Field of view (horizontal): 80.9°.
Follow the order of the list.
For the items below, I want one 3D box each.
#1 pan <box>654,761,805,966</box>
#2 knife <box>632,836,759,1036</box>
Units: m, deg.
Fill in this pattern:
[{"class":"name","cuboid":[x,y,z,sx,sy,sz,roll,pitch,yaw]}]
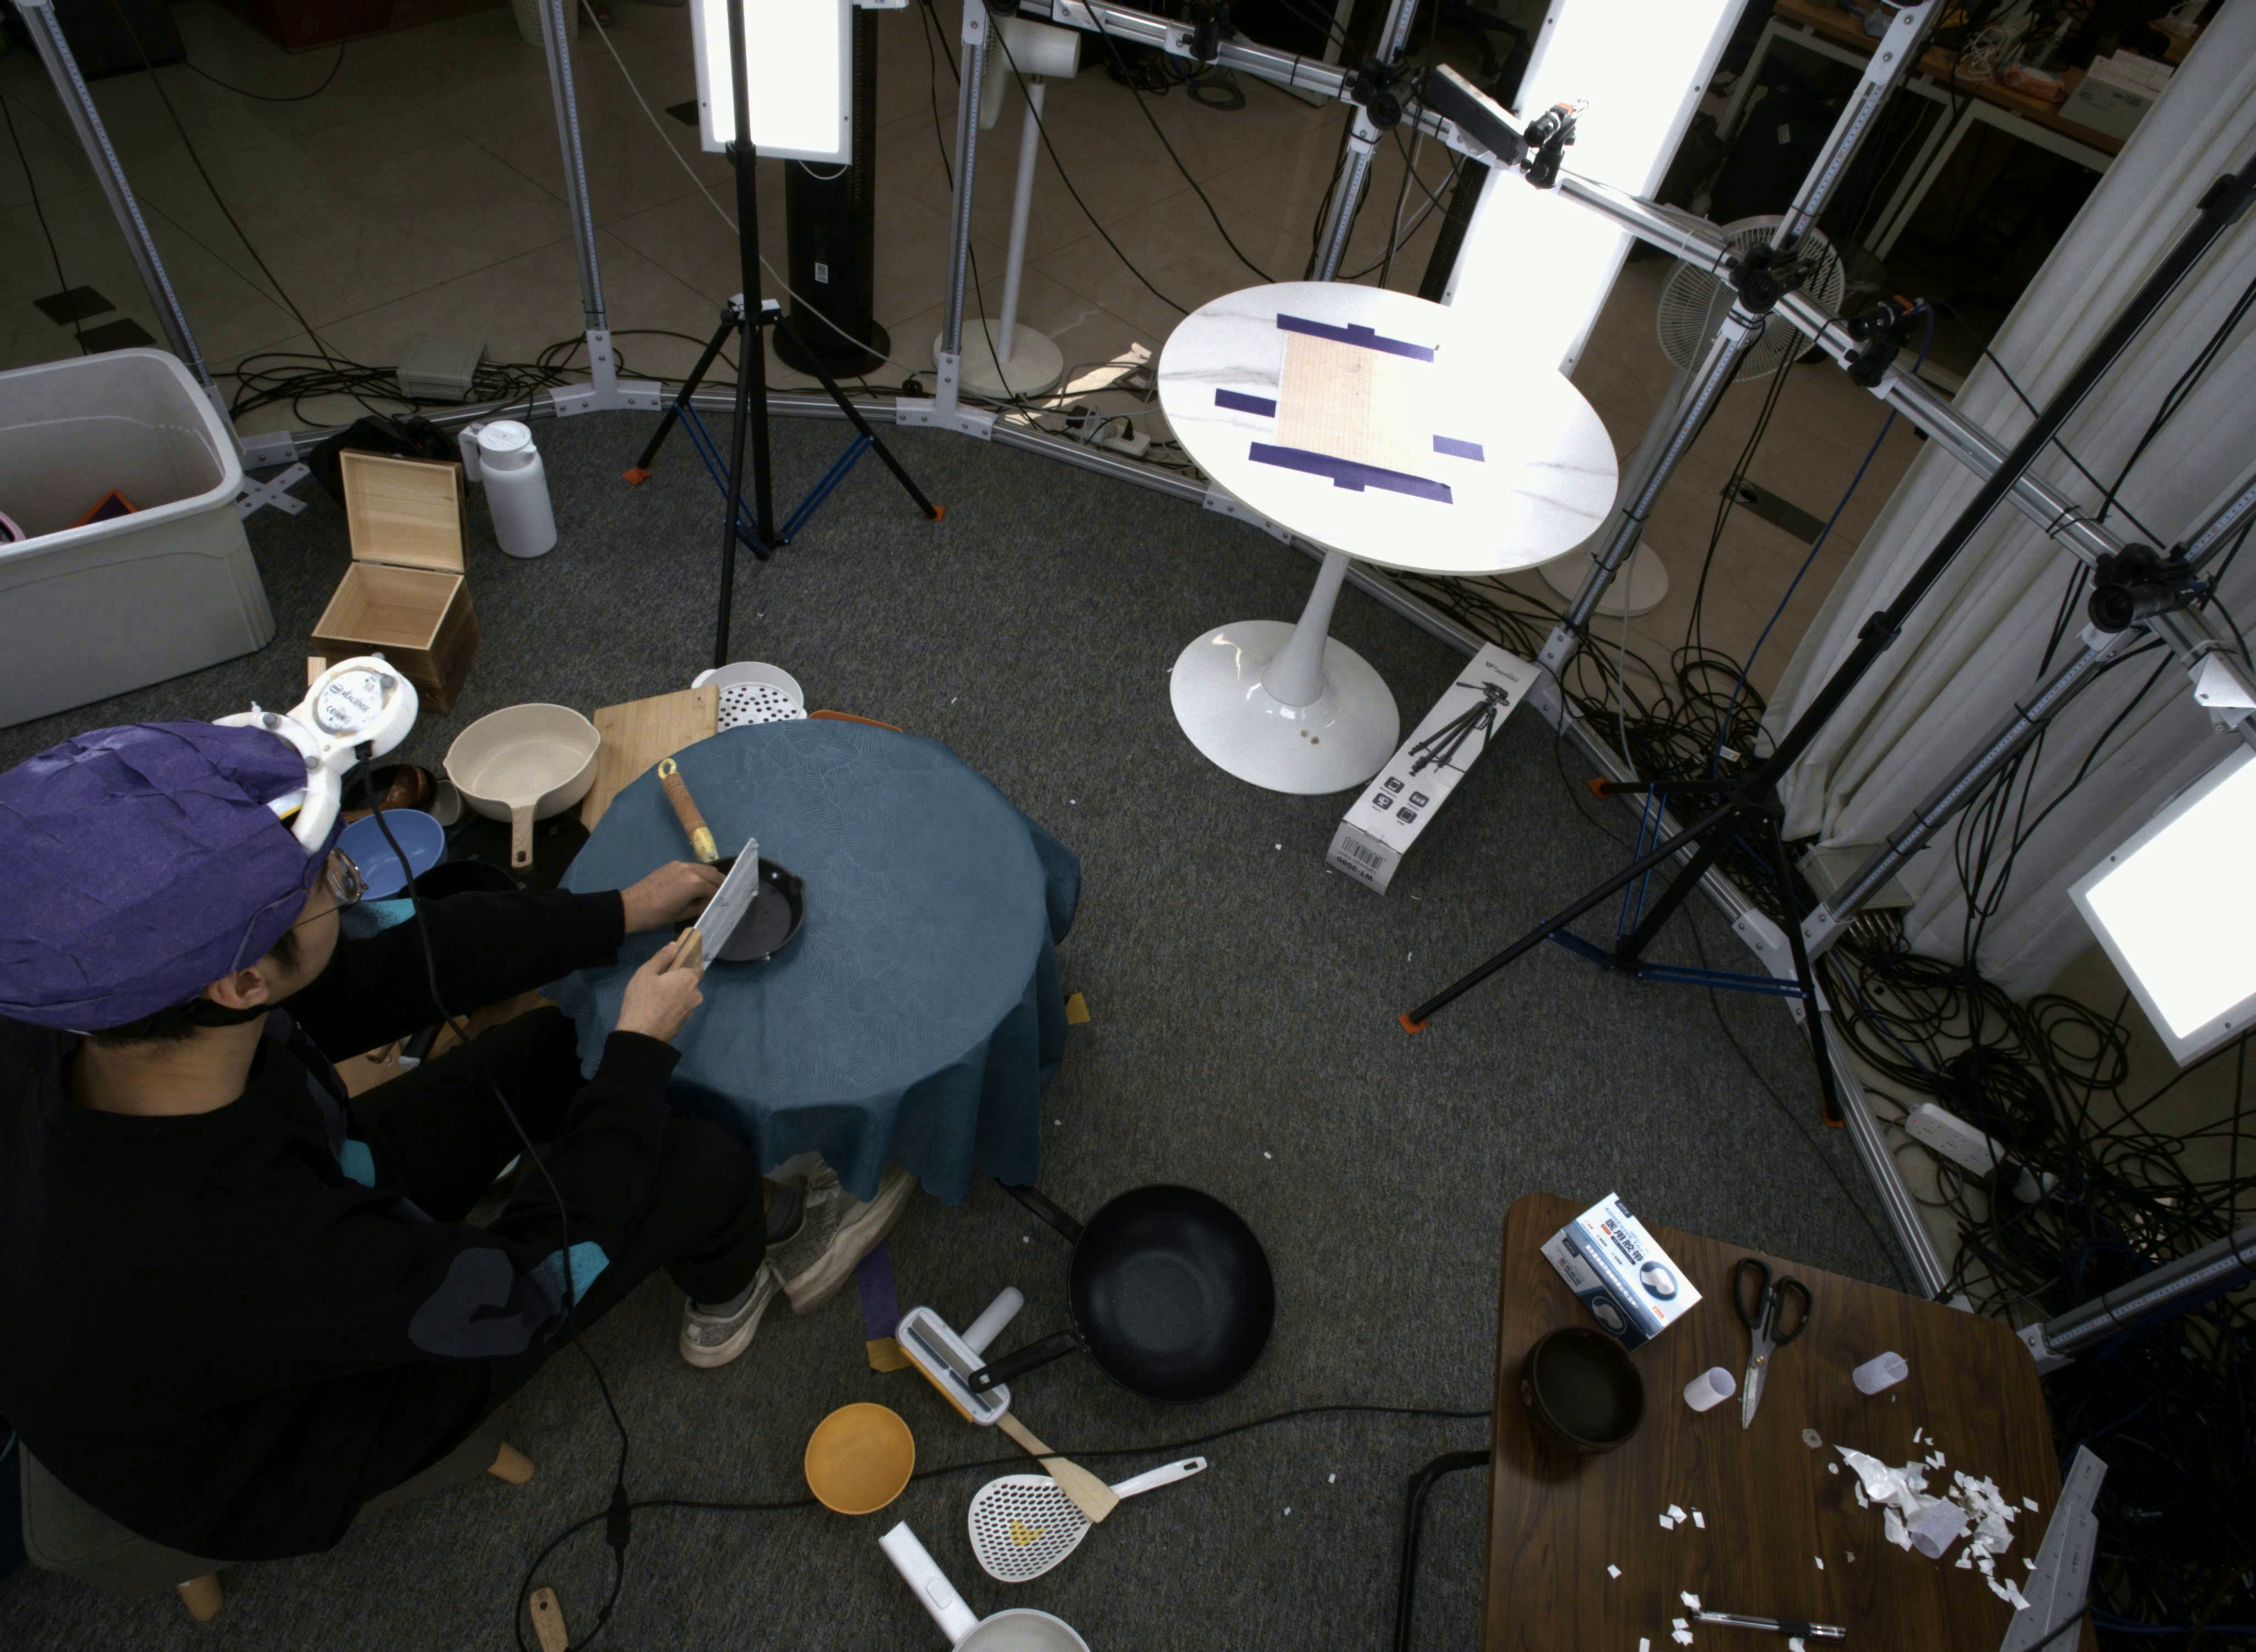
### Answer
[{"class":"pan","cuboid":[-0.524,0.043,1.622,0.170,0.050,0.316,-24,64,-28]},{"class":"knife","cuboid":[-0.487,0.124,1.476,0.021,0.117,0.311,13,33,4]}]
